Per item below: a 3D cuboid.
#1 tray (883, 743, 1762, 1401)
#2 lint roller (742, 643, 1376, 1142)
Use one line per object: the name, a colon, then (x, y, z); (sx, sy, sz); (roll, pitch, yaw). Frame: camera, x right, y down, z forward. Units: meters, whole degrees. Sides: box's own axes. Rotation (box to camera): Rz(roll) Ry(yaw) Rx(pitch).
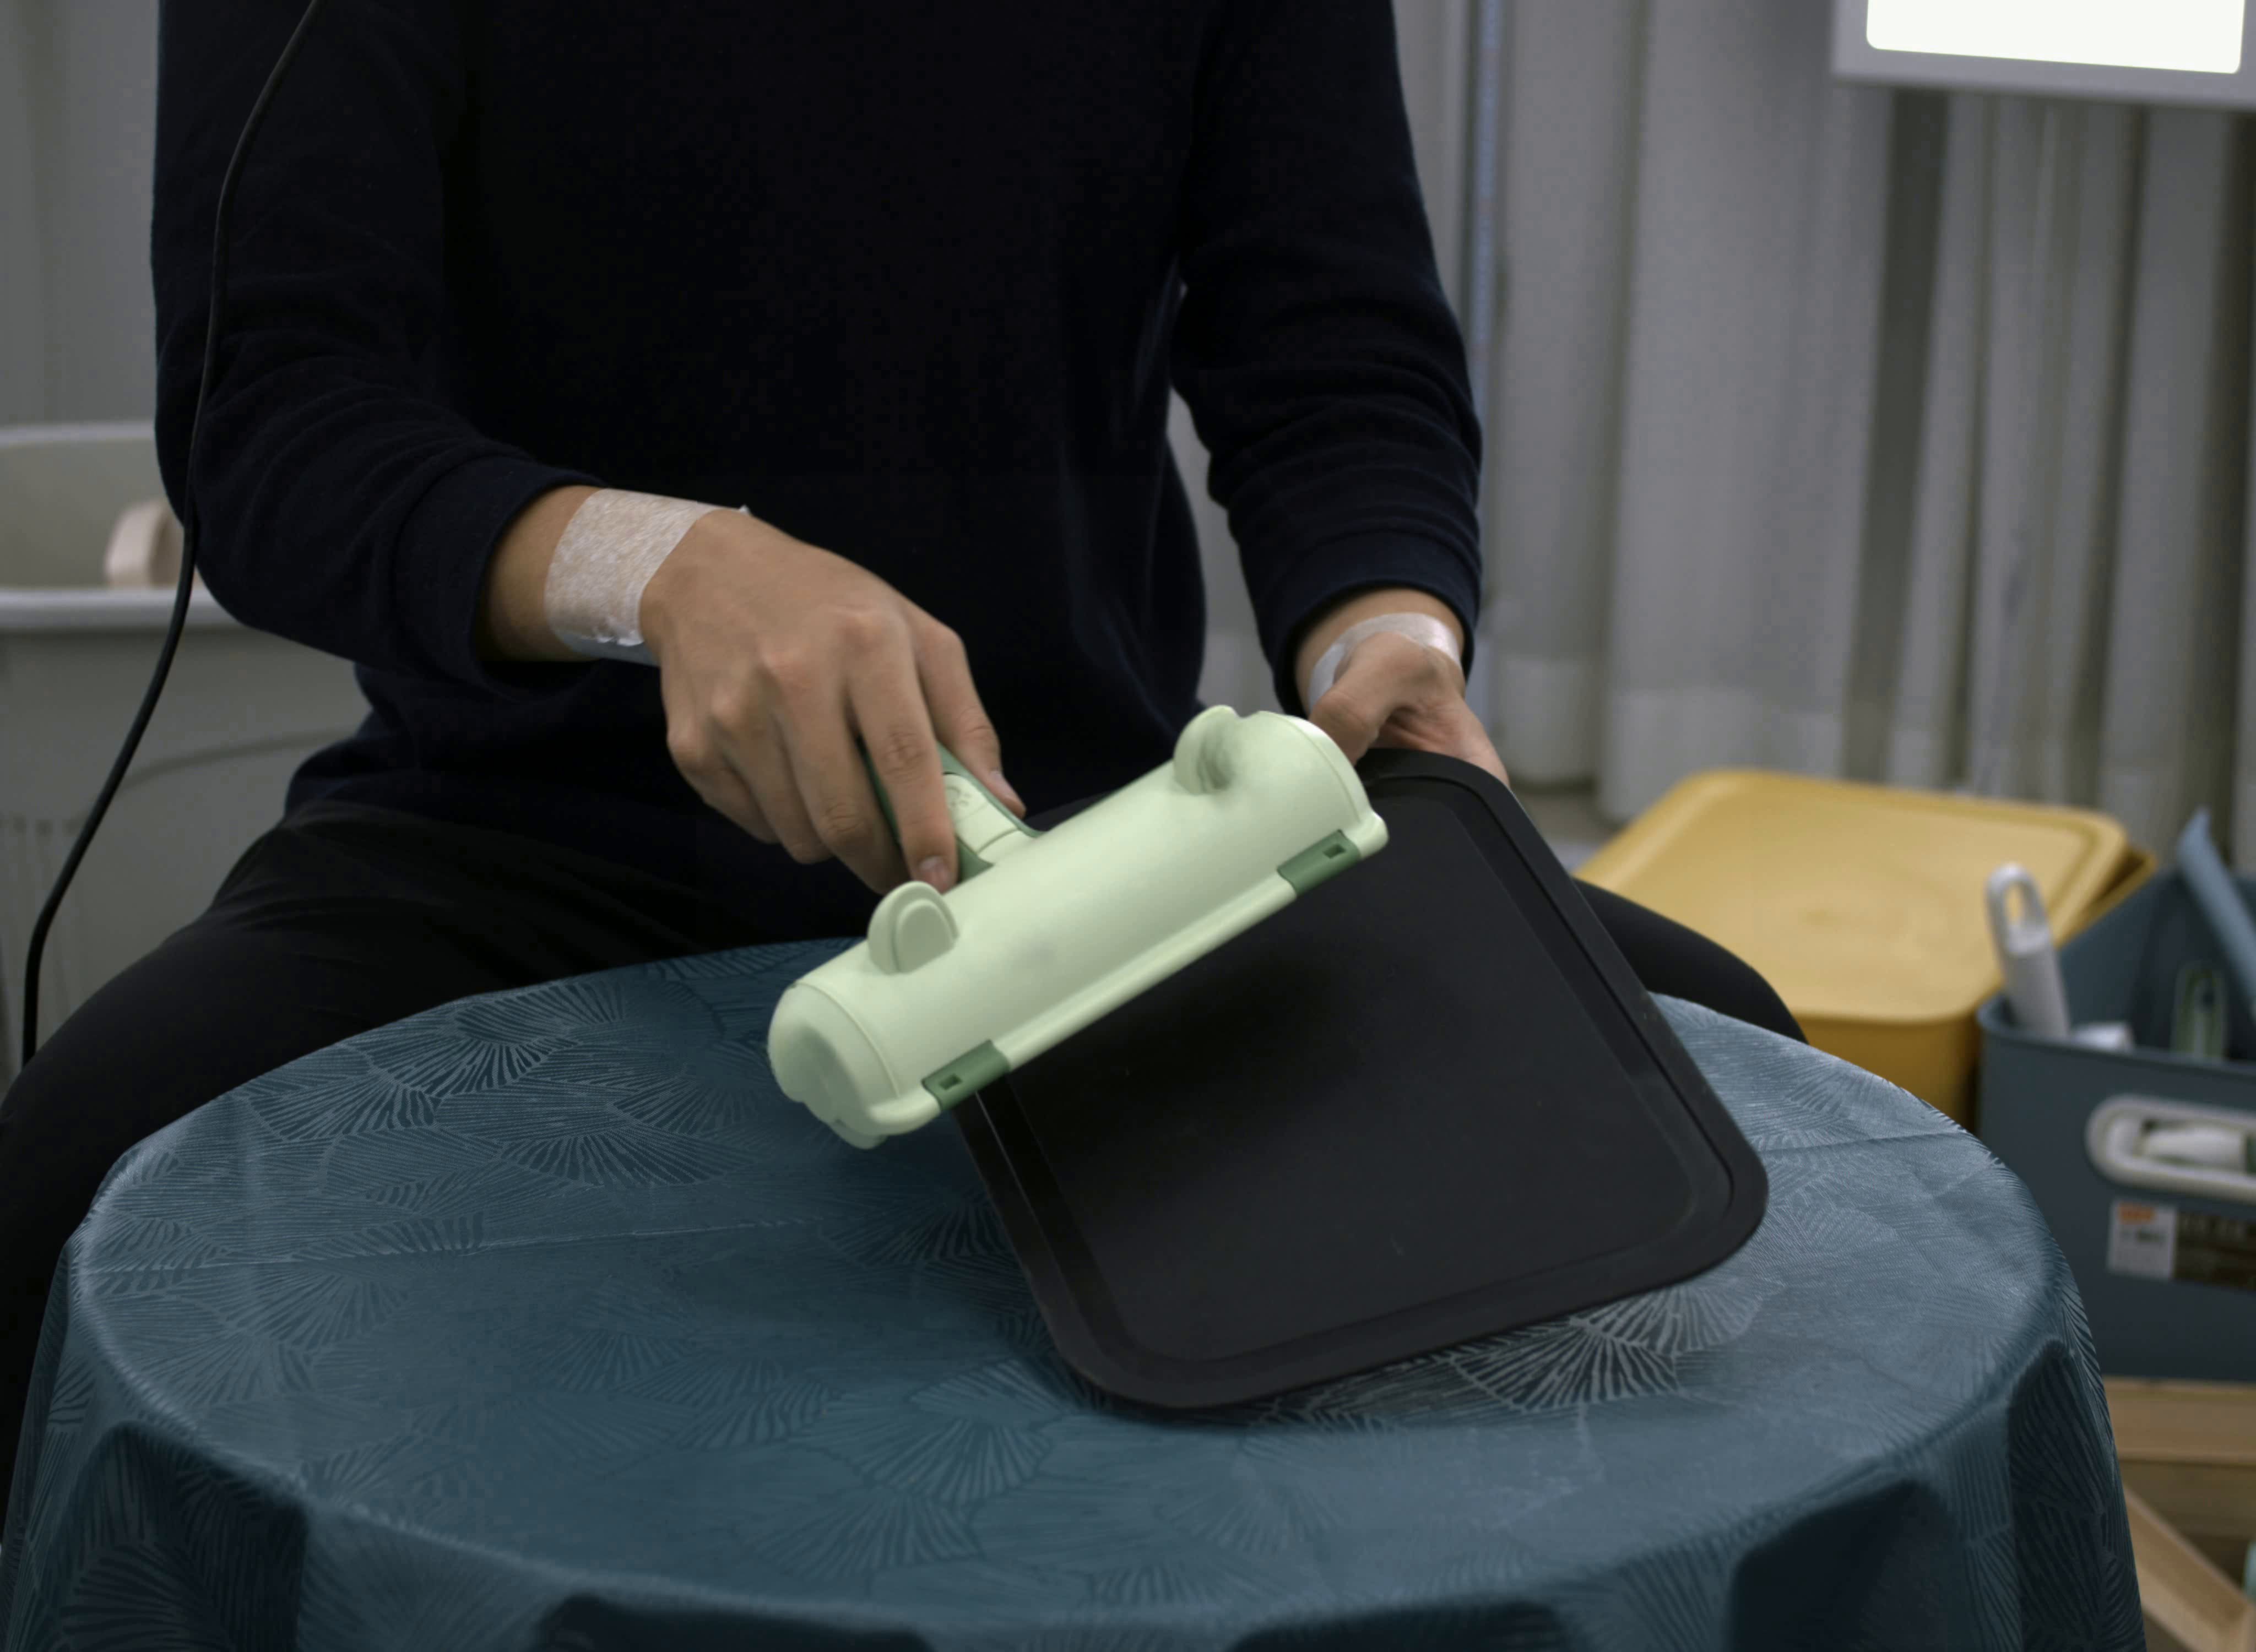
tray: (0.047, 0.061, 1.577); (0.211, 0.010, 0.321); (-13, 33, -10)
lint roller: (-0.053, -0.013, 1.568); (0.199, 0.083, 0.181); (-31, 63, -29)
